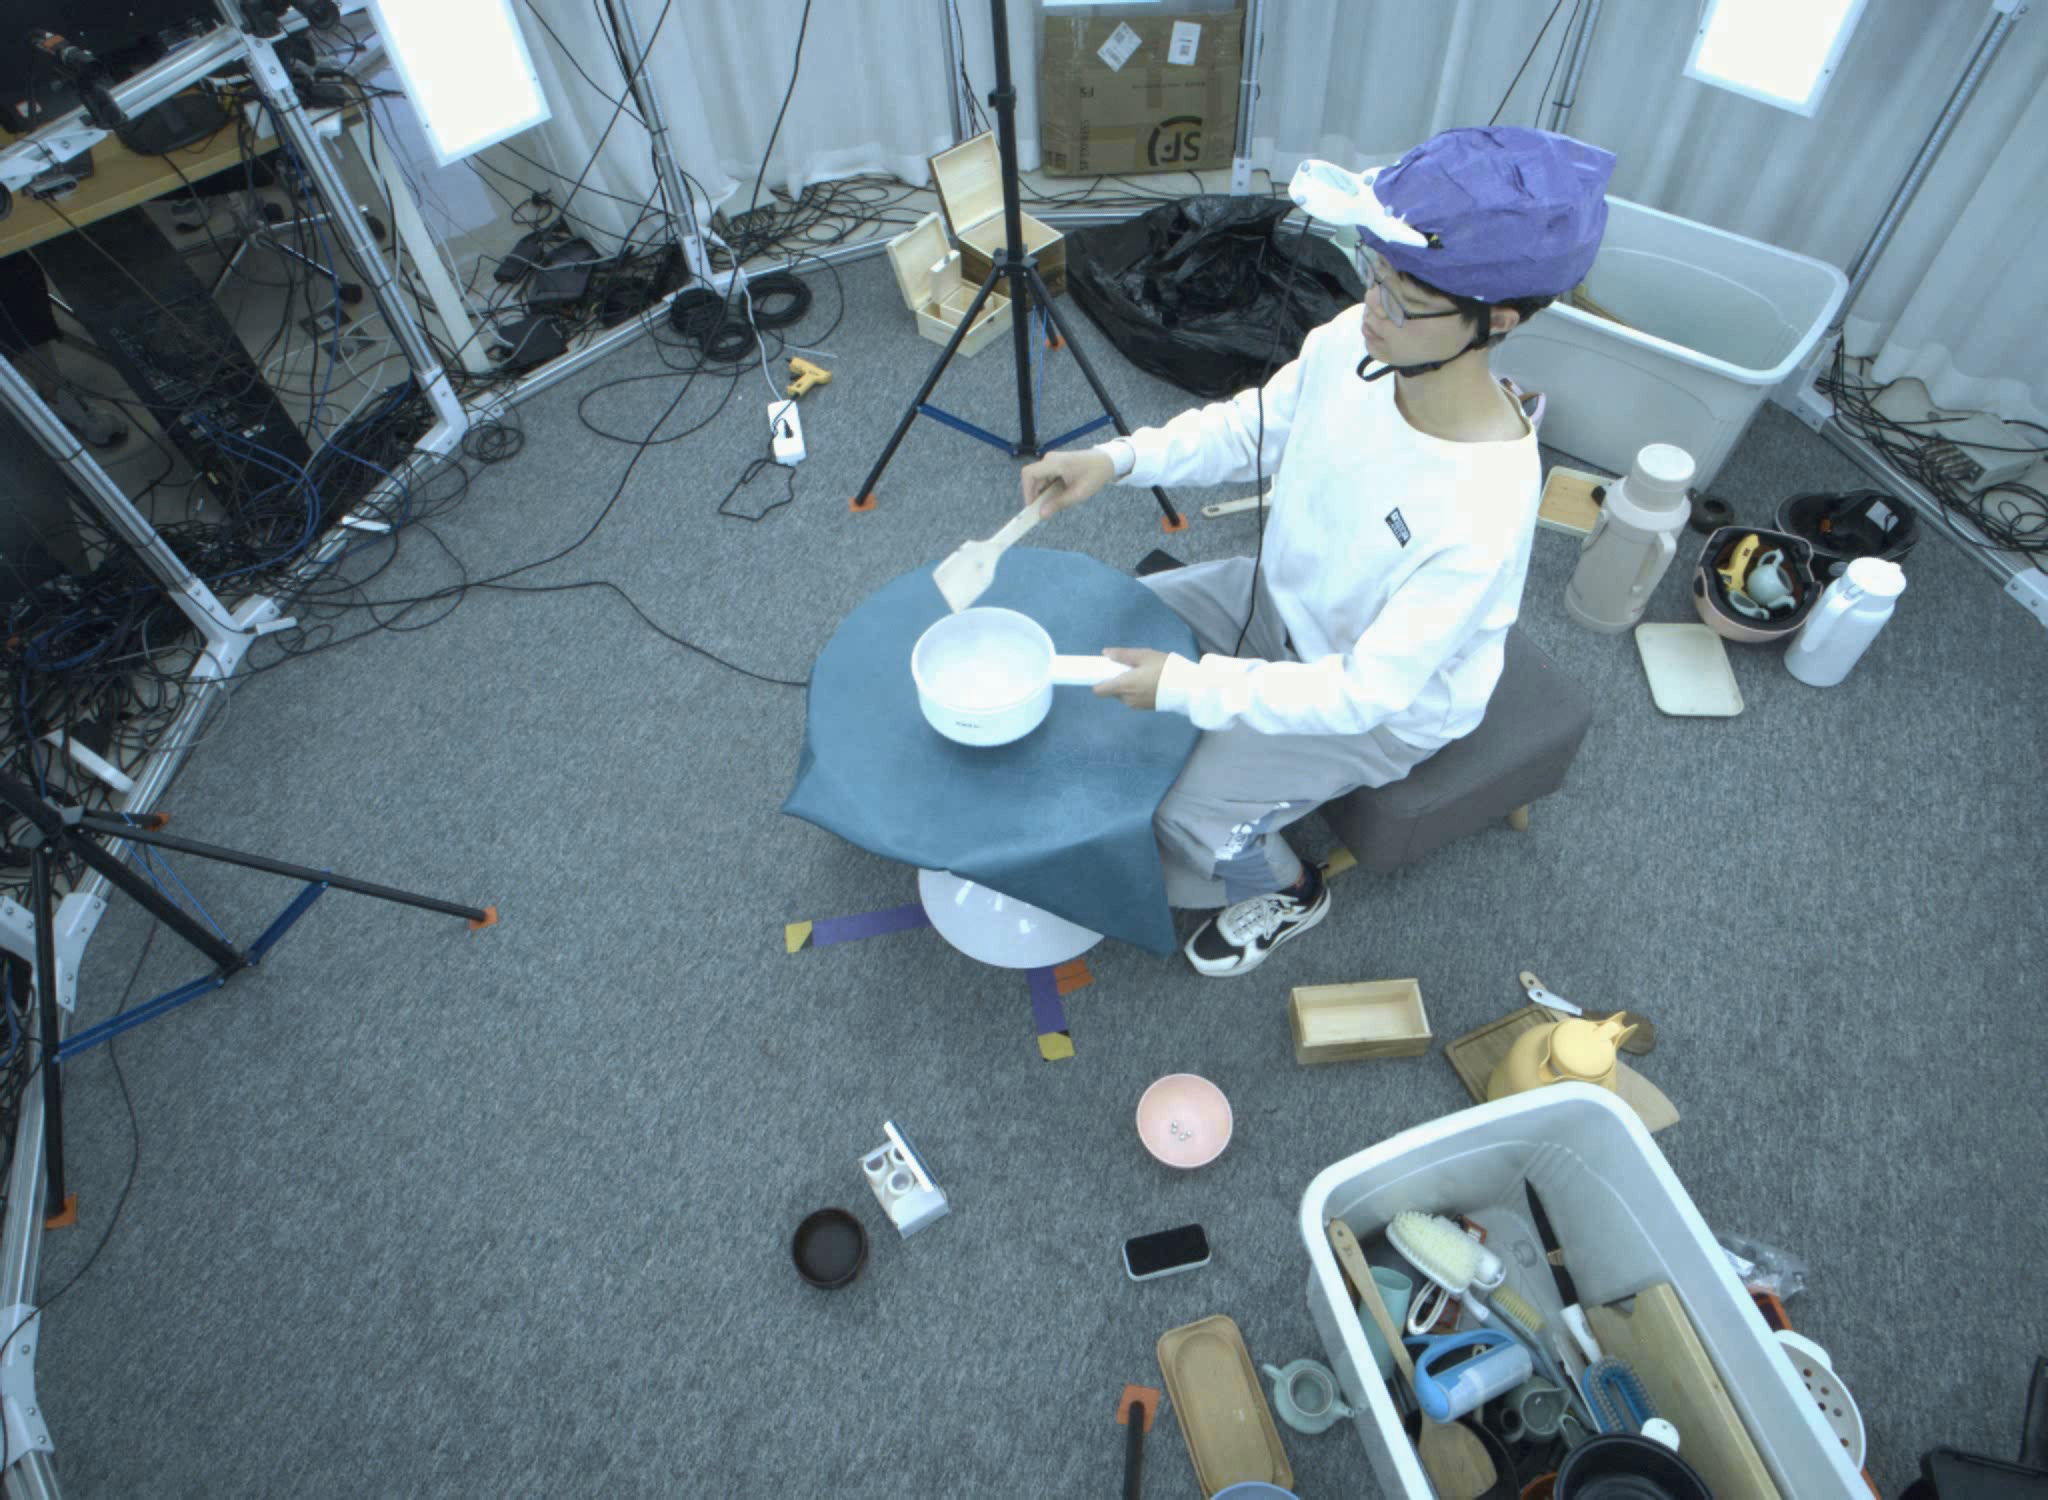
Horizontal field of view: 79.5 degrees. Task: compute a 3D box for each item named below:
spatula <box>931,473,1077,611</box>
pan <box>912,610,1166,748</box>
[{"bbox_3d":[-0.021,-0.306,1.715,0.010,0.073,0.295,6,44,50],"label":"spatula"},{"bbox_3d":[0.022,-0.092,1.747,0.354,0.103,0.199,3,50,2],"label":"pan"}]
